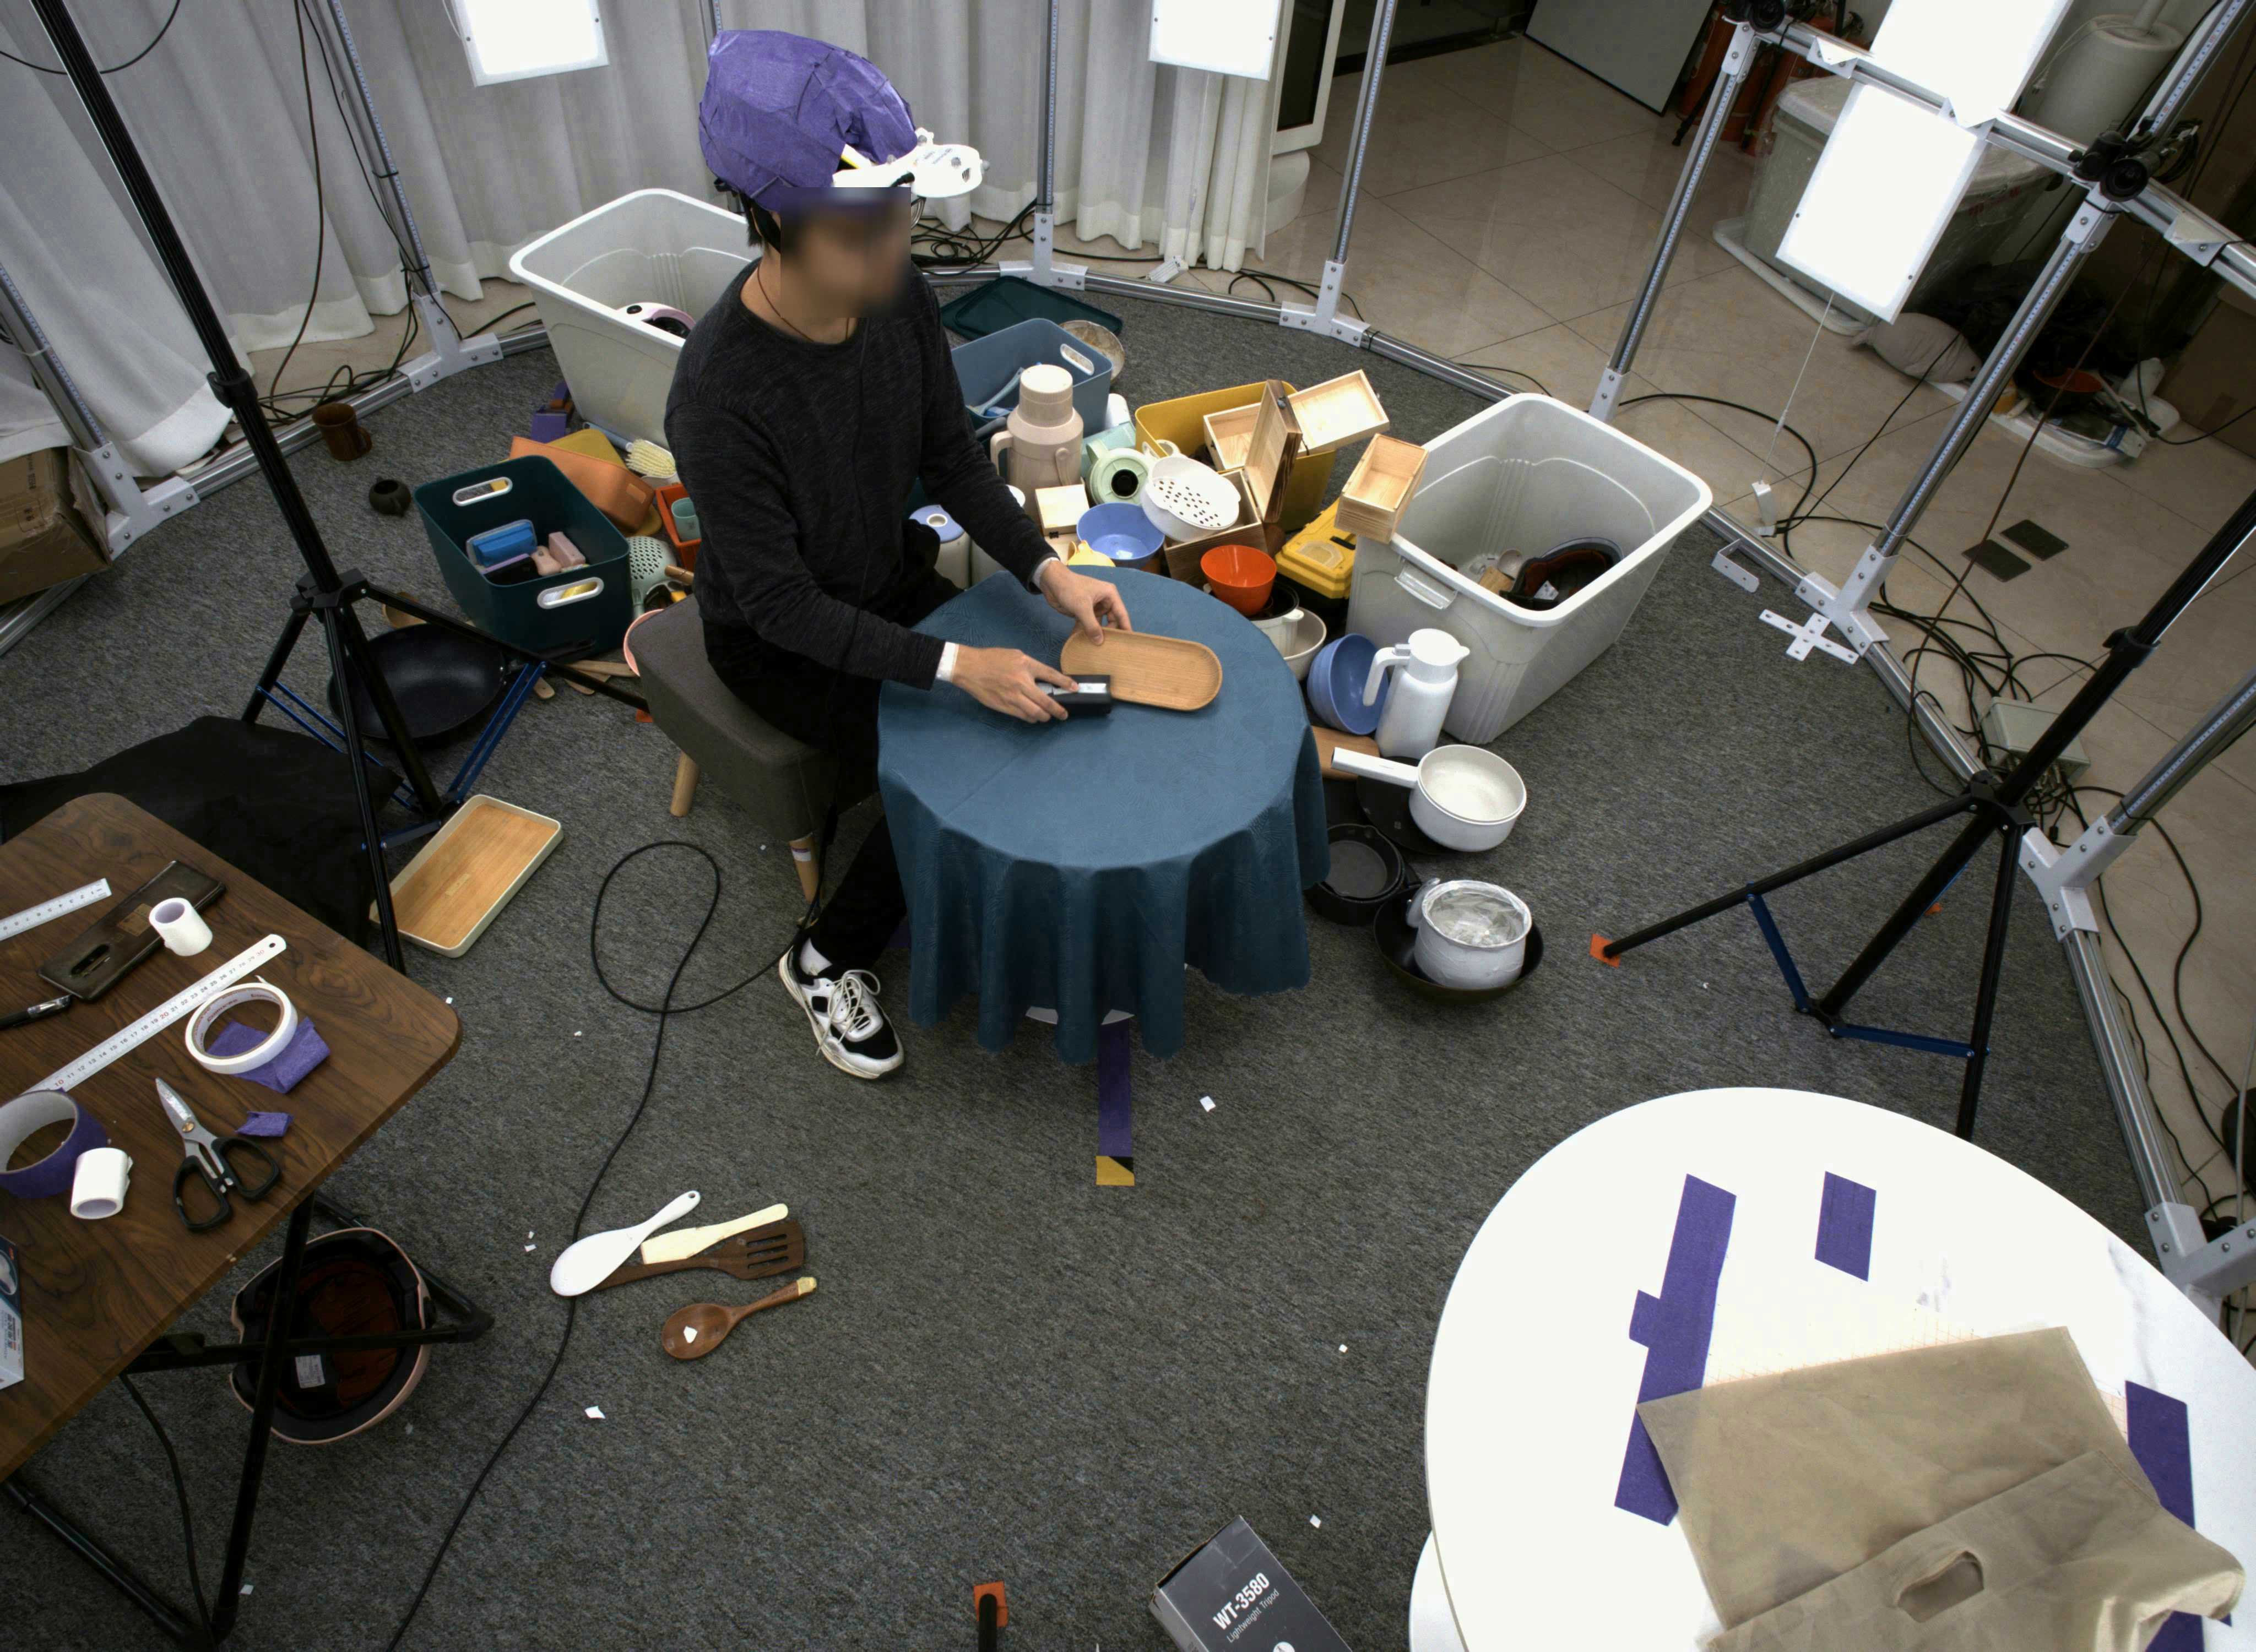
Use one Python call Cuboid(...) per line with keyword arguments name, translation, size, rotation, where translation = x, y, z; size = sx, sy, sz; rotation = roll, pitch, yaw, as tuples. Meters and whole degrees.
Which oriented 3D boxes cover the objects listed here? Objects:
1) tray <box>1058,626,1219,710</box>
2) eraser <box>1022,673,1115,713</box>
Cuboid(name="tray", translation=(0.015, -0.224, 1.827), size=(0.231, 0.020, 0.103), rotation=(9, 77, 6))
Cuboid(name="eraser", translation=(-0.084, -0.186, 1.787), size=(0.125, 0.030, 0.055), rotation=(-3, 57, -13))
